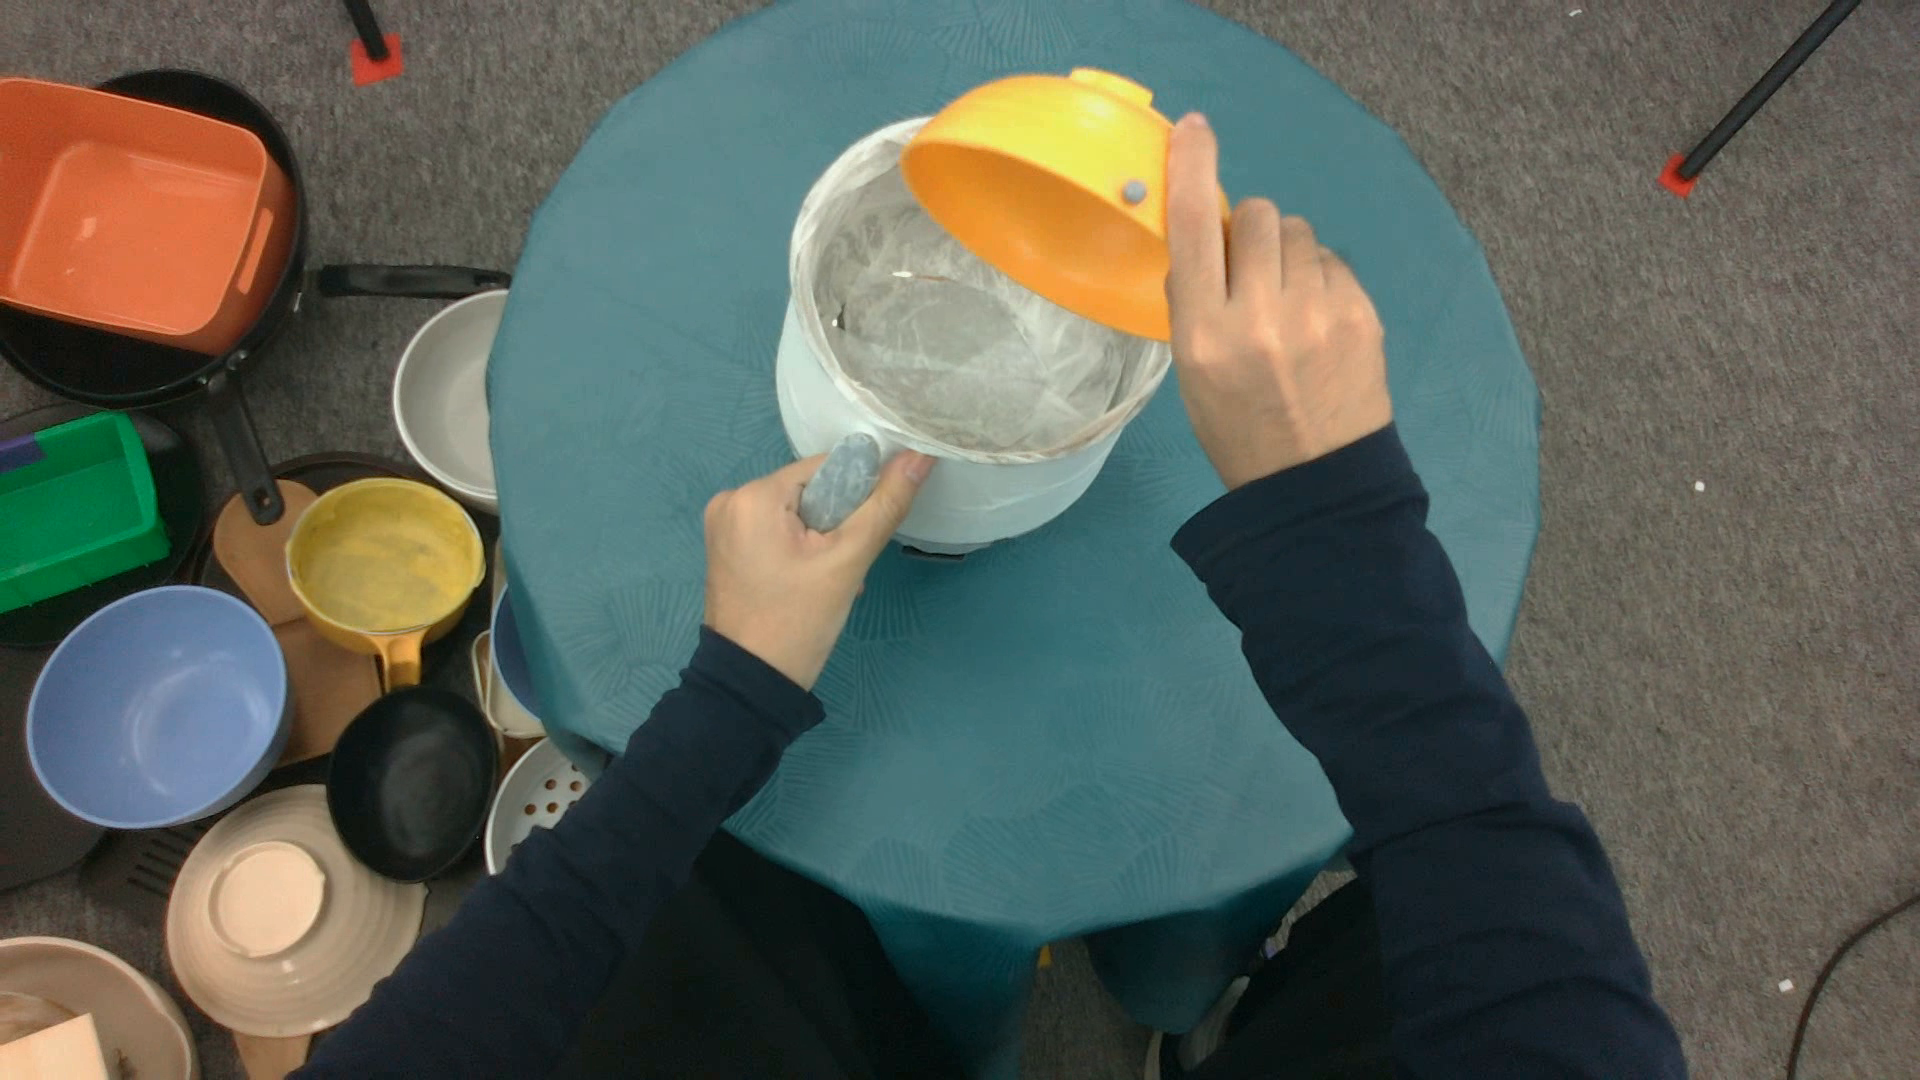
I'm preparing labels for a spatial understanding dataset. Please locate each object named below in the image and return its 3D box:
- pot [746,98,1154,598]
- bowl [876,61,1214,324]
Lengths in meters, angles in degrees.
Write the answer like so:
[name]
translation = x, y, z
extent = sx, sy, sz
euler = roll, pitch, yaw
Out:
[pot]
translation = -0.021, -0.081, 0.656
extent = 0.179, 0.136, 0.234
euler = 31, 65, 3
[bowl]
translation = 0.044, -0.147, 0.550
extent = 0.145, 0.145, 0.060
euler = 26, 85, 3
